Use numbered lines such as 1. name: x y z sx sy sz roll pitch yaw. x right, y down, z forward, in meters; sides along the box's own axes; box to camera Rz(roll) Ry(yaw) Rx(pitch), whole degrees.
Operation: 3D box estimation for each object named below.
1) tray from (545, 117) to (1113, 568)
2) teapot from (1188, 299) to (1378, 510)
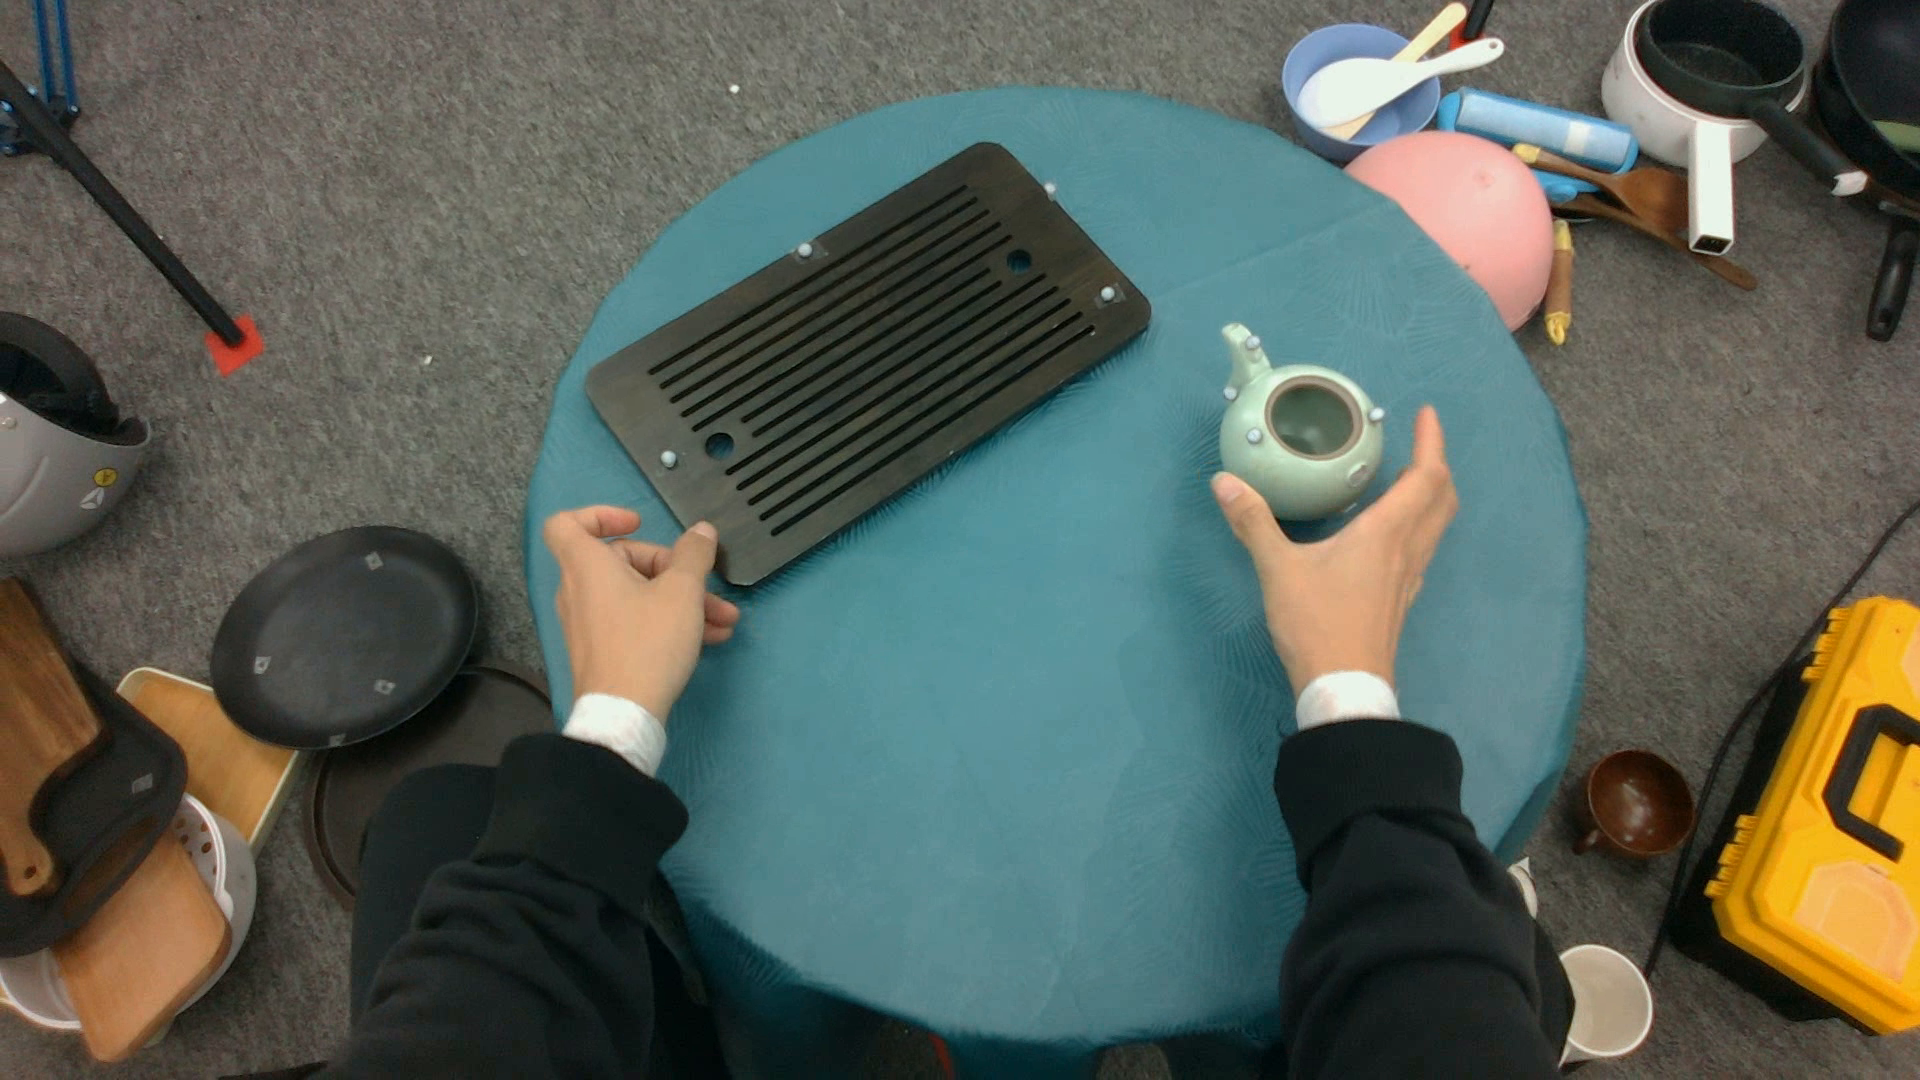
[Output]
1. tray: -0.073 -0.124 0.813 0.307 0.018 0.170 -35 72 -16
2. teapot: 0.172 -0.068 0.767 0.088 0.074 0.144 -33 70 -16
